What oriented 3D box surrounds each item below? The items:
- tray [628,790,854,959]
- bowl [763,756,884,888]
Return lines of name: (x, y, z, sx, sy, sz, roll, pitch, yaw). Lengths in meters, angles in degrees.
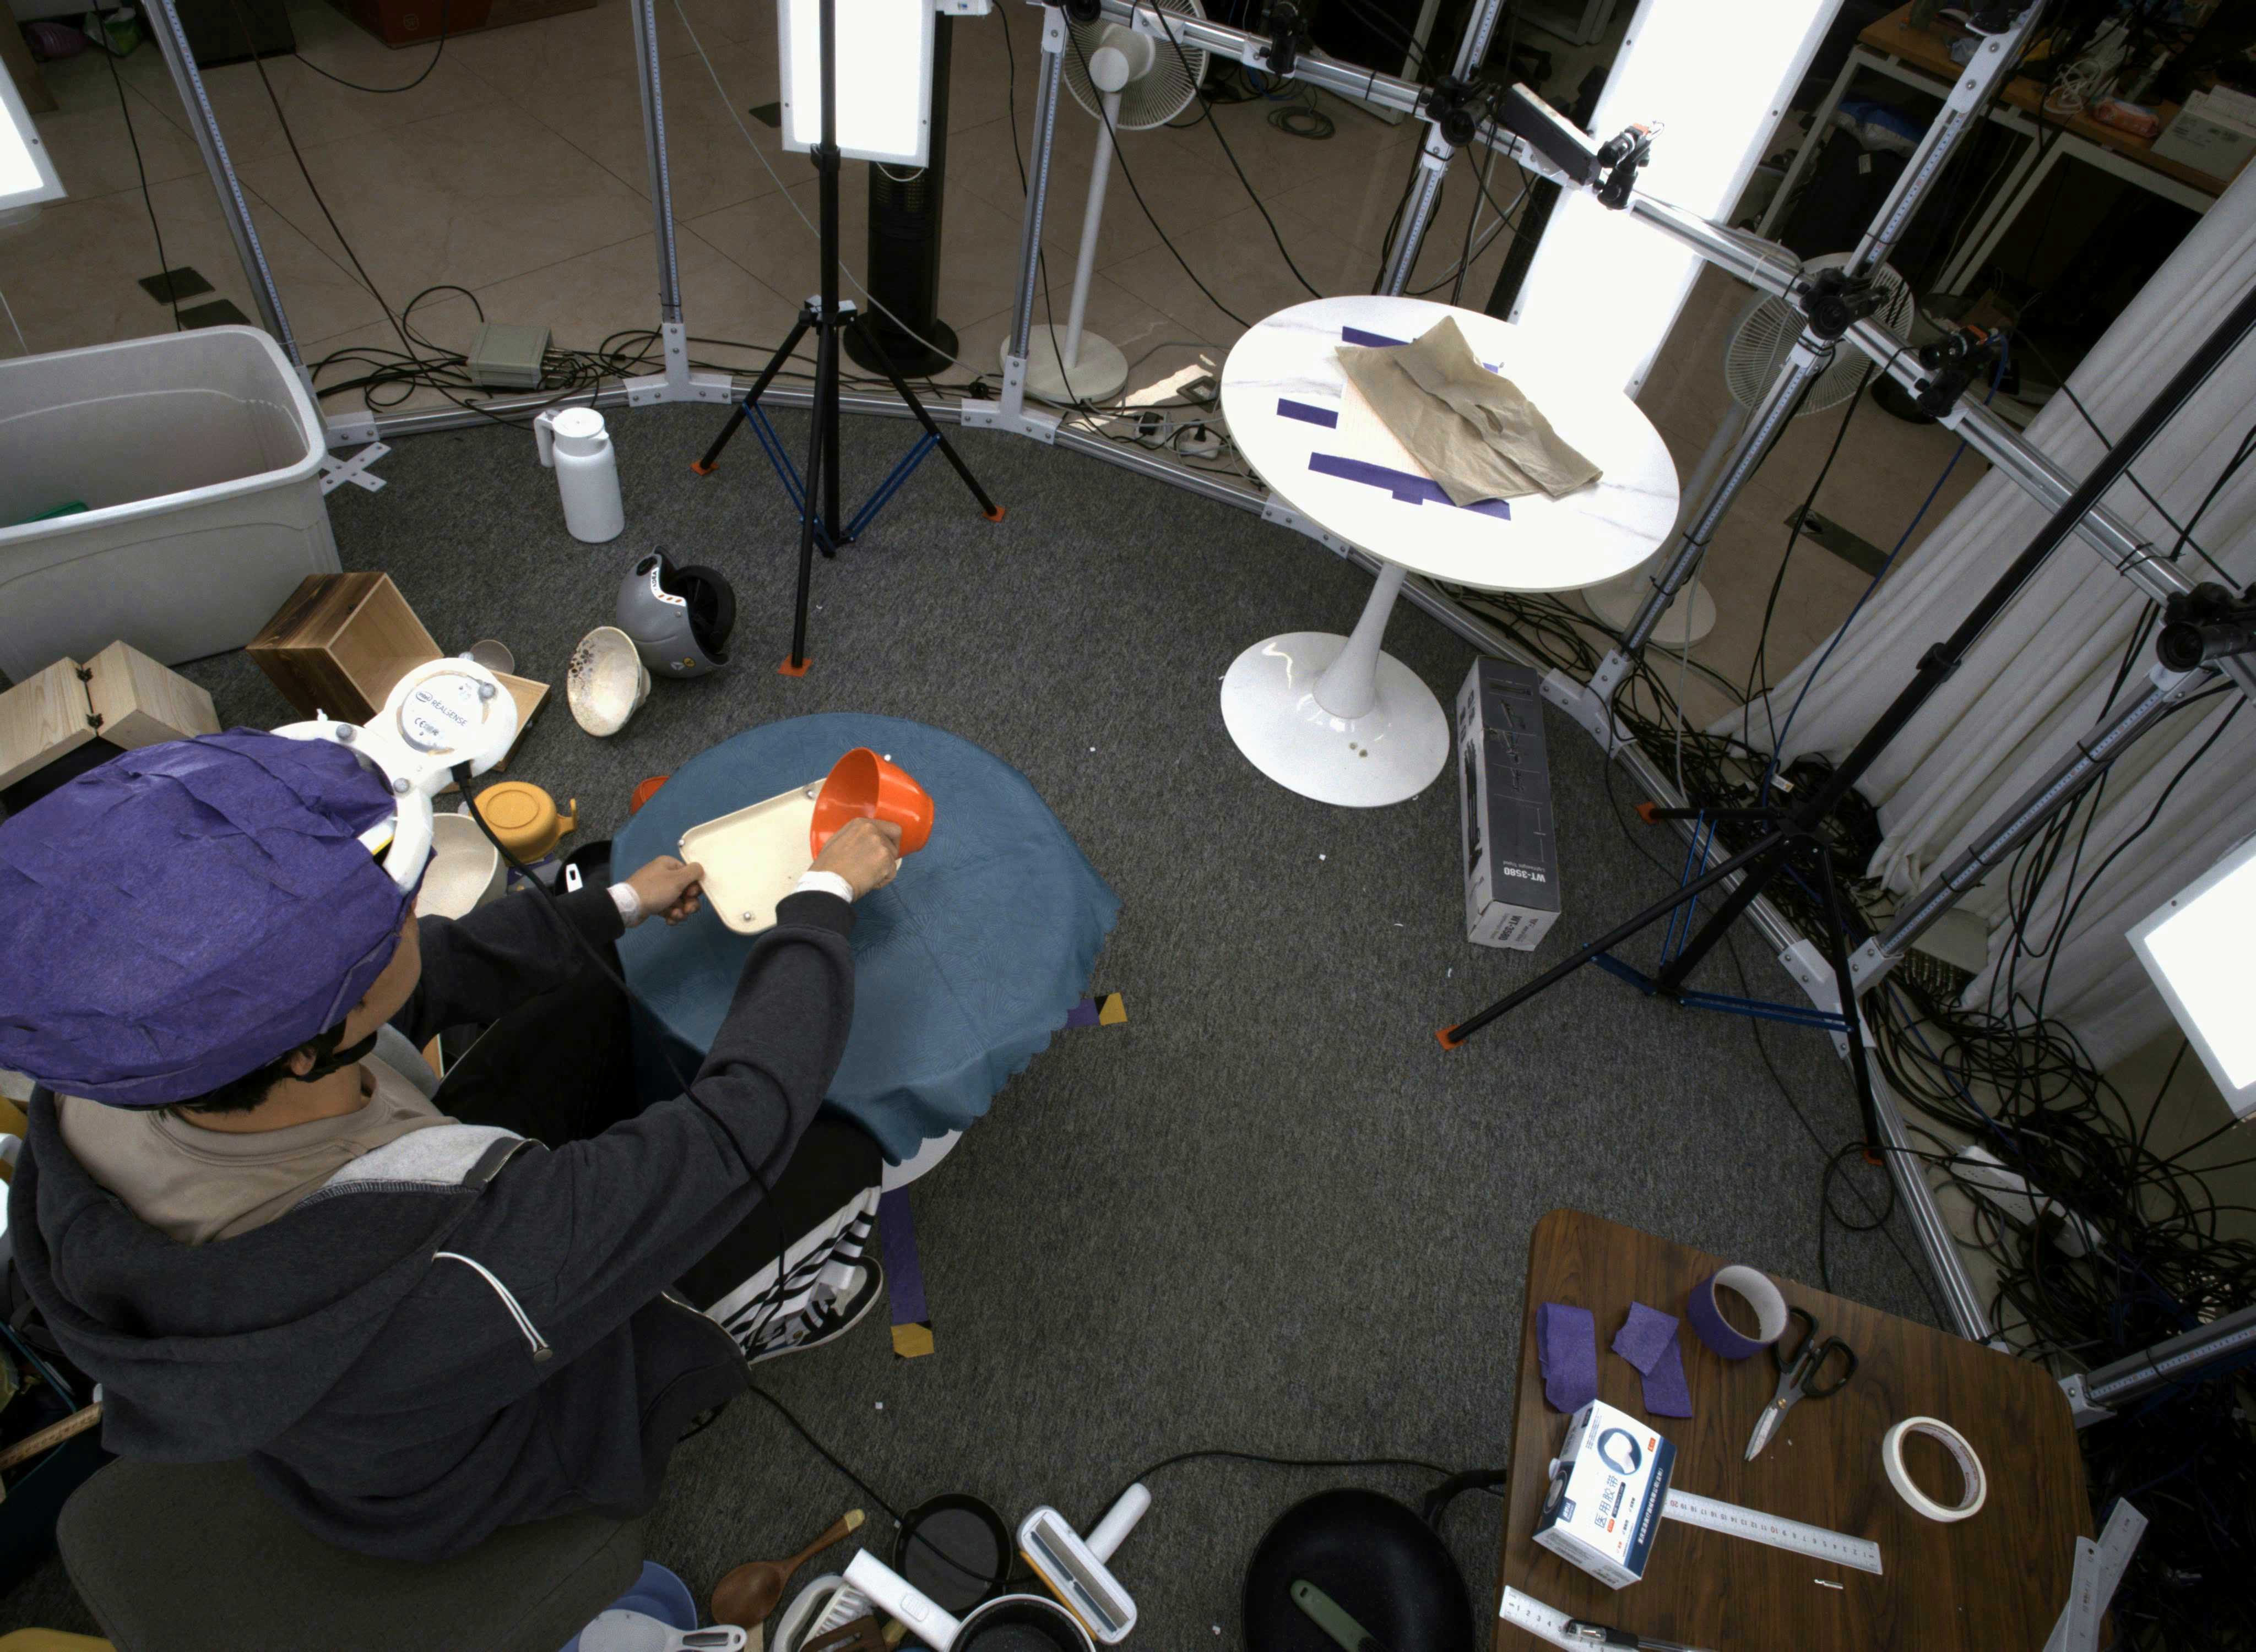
tray: (-0.466, 0.054, 1.564, 0.241, 0.018, 0.168, -28, 68, -34)
bowl: (-0.338, 0.001, 1.458, 0.106, 0.148, 0.144, 11, 48, -29)
